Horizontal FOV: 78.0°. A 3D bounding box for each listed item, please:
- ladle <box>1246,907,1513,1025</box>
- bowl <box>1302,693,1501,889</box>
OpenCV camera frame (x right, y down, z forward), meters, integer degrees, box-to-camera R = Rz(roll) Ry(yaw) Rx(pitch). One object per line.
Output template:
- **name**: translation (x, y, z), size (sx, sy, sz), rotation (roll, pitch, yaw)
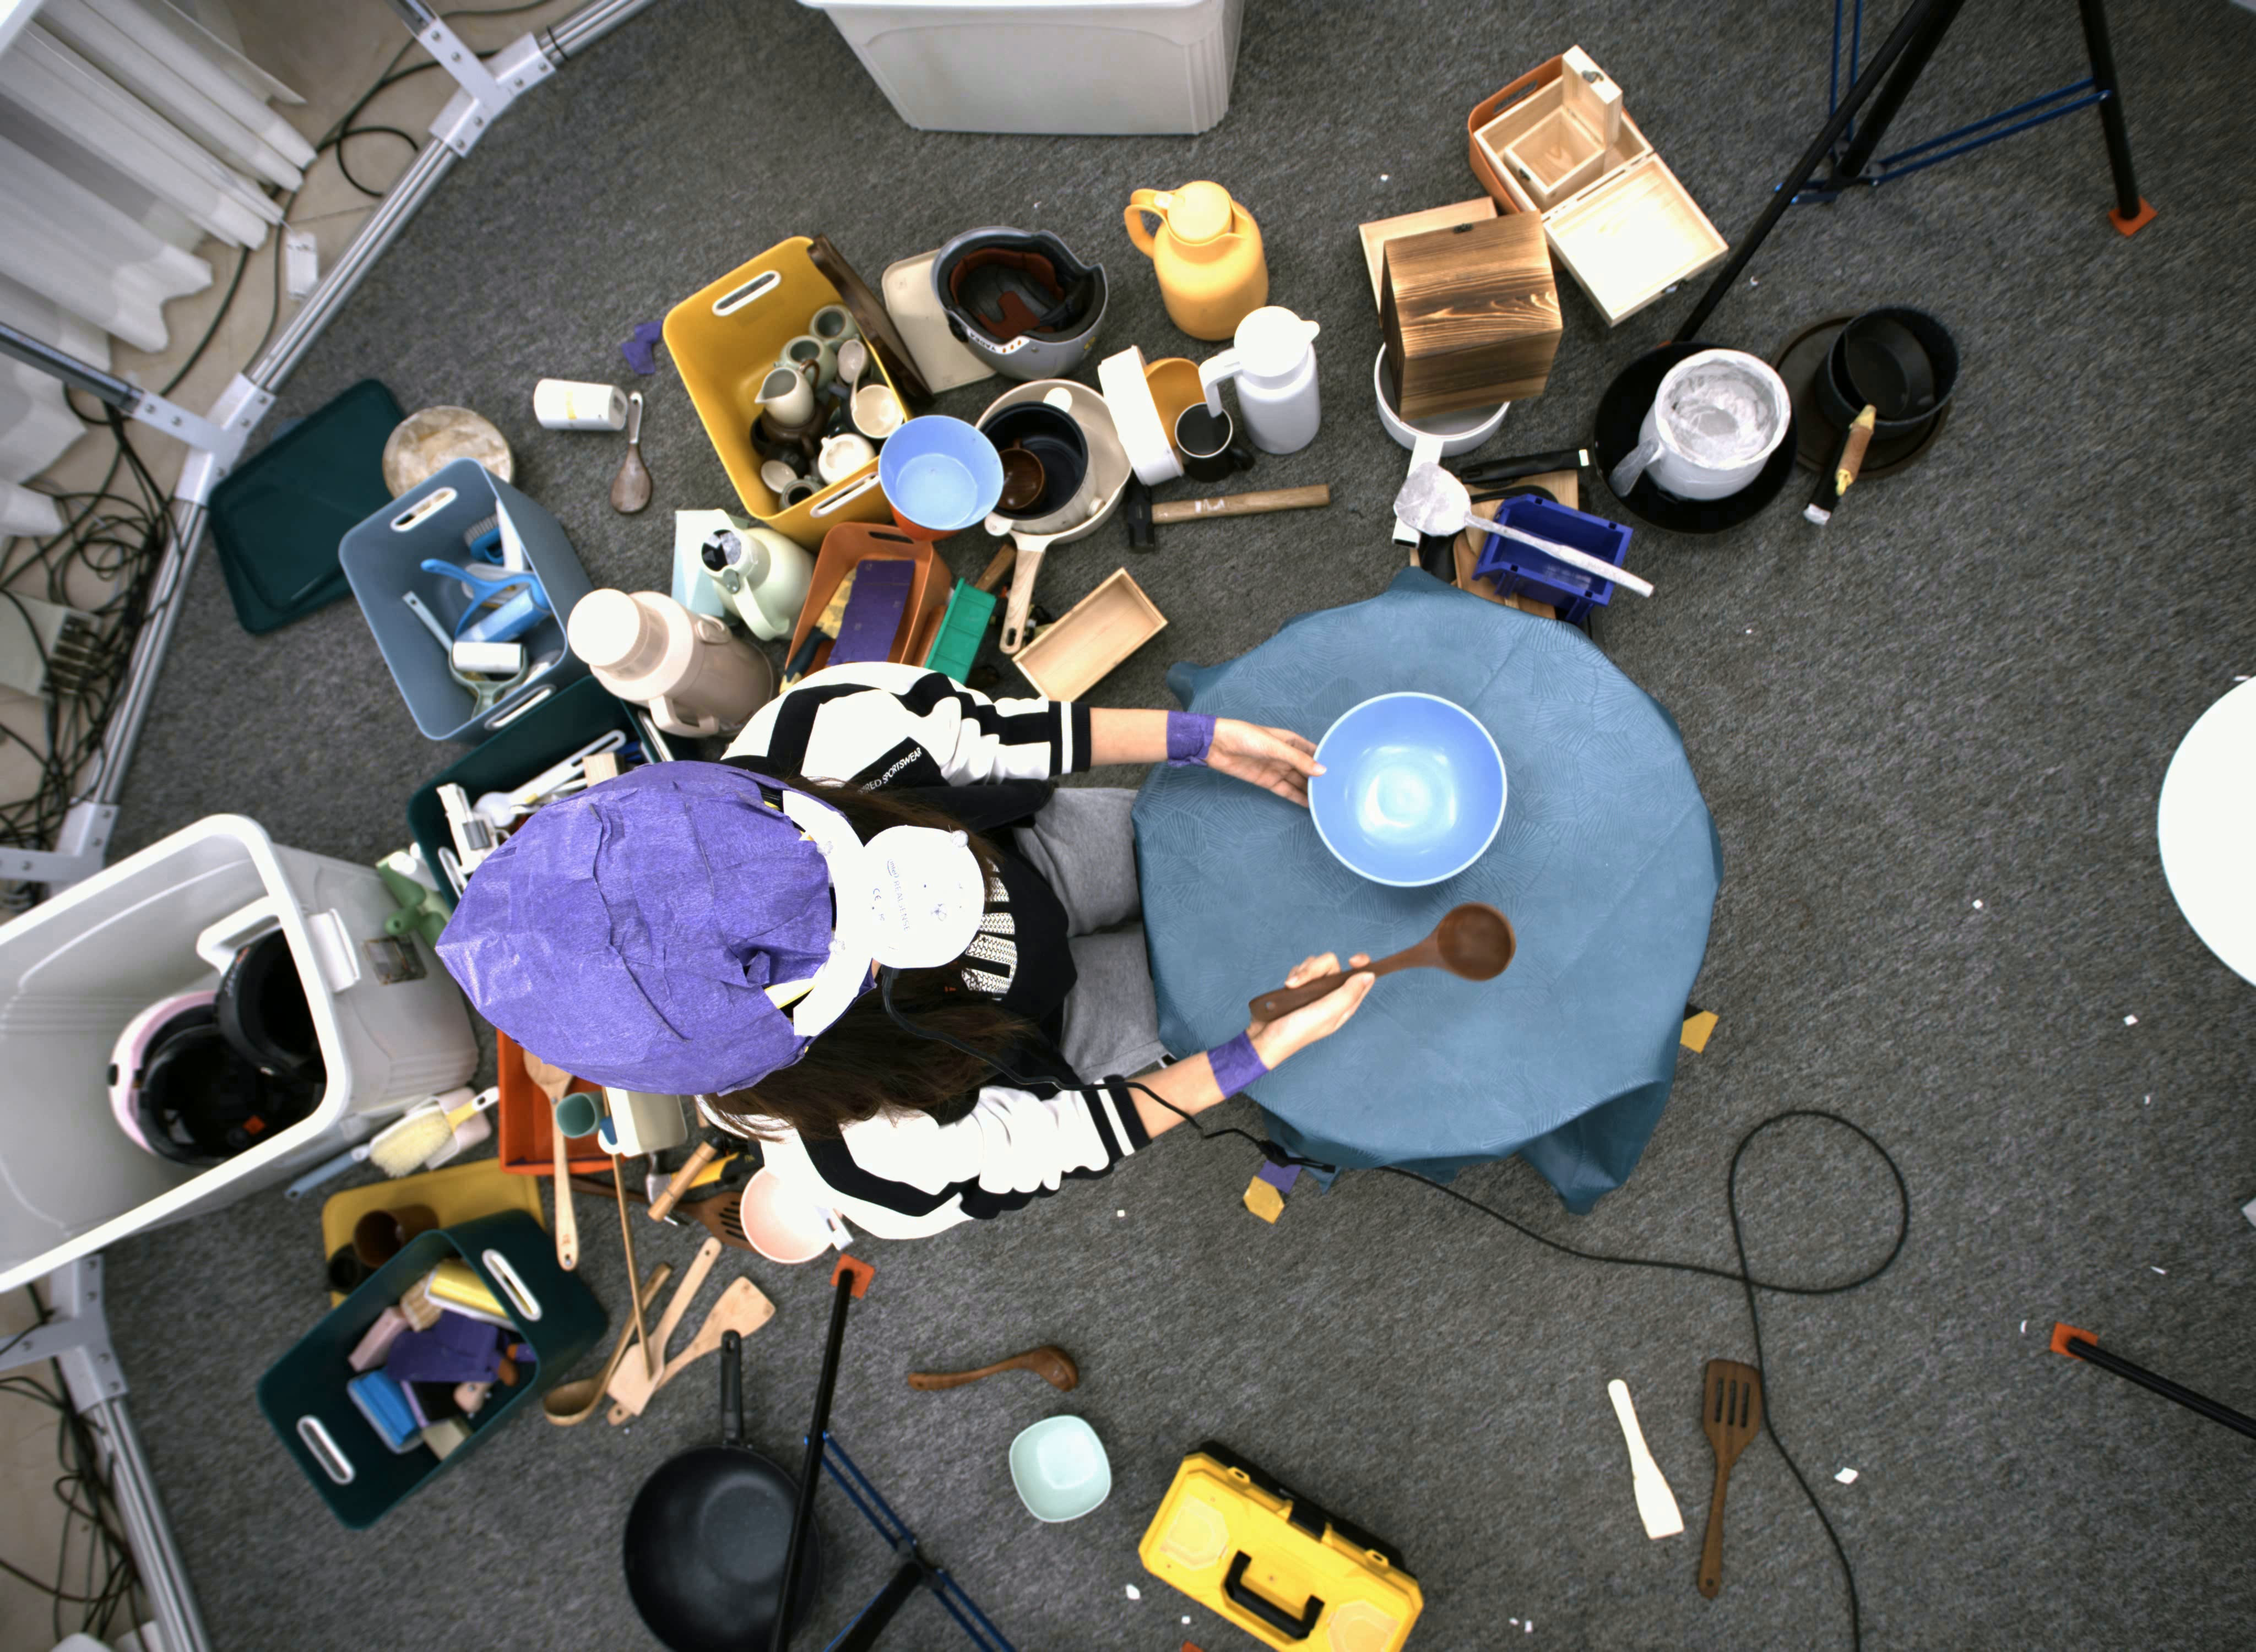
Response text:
- **ladle**: translation (0.238, 0.140, 1.307), size (0.259, 0.065, 0.076), rotation (-16, 84, -6)
- **bowl**: translation (0.277, -0.036, 1.417), size (0.197, 0.095, 0.196), rotation (0, 91, 6)
